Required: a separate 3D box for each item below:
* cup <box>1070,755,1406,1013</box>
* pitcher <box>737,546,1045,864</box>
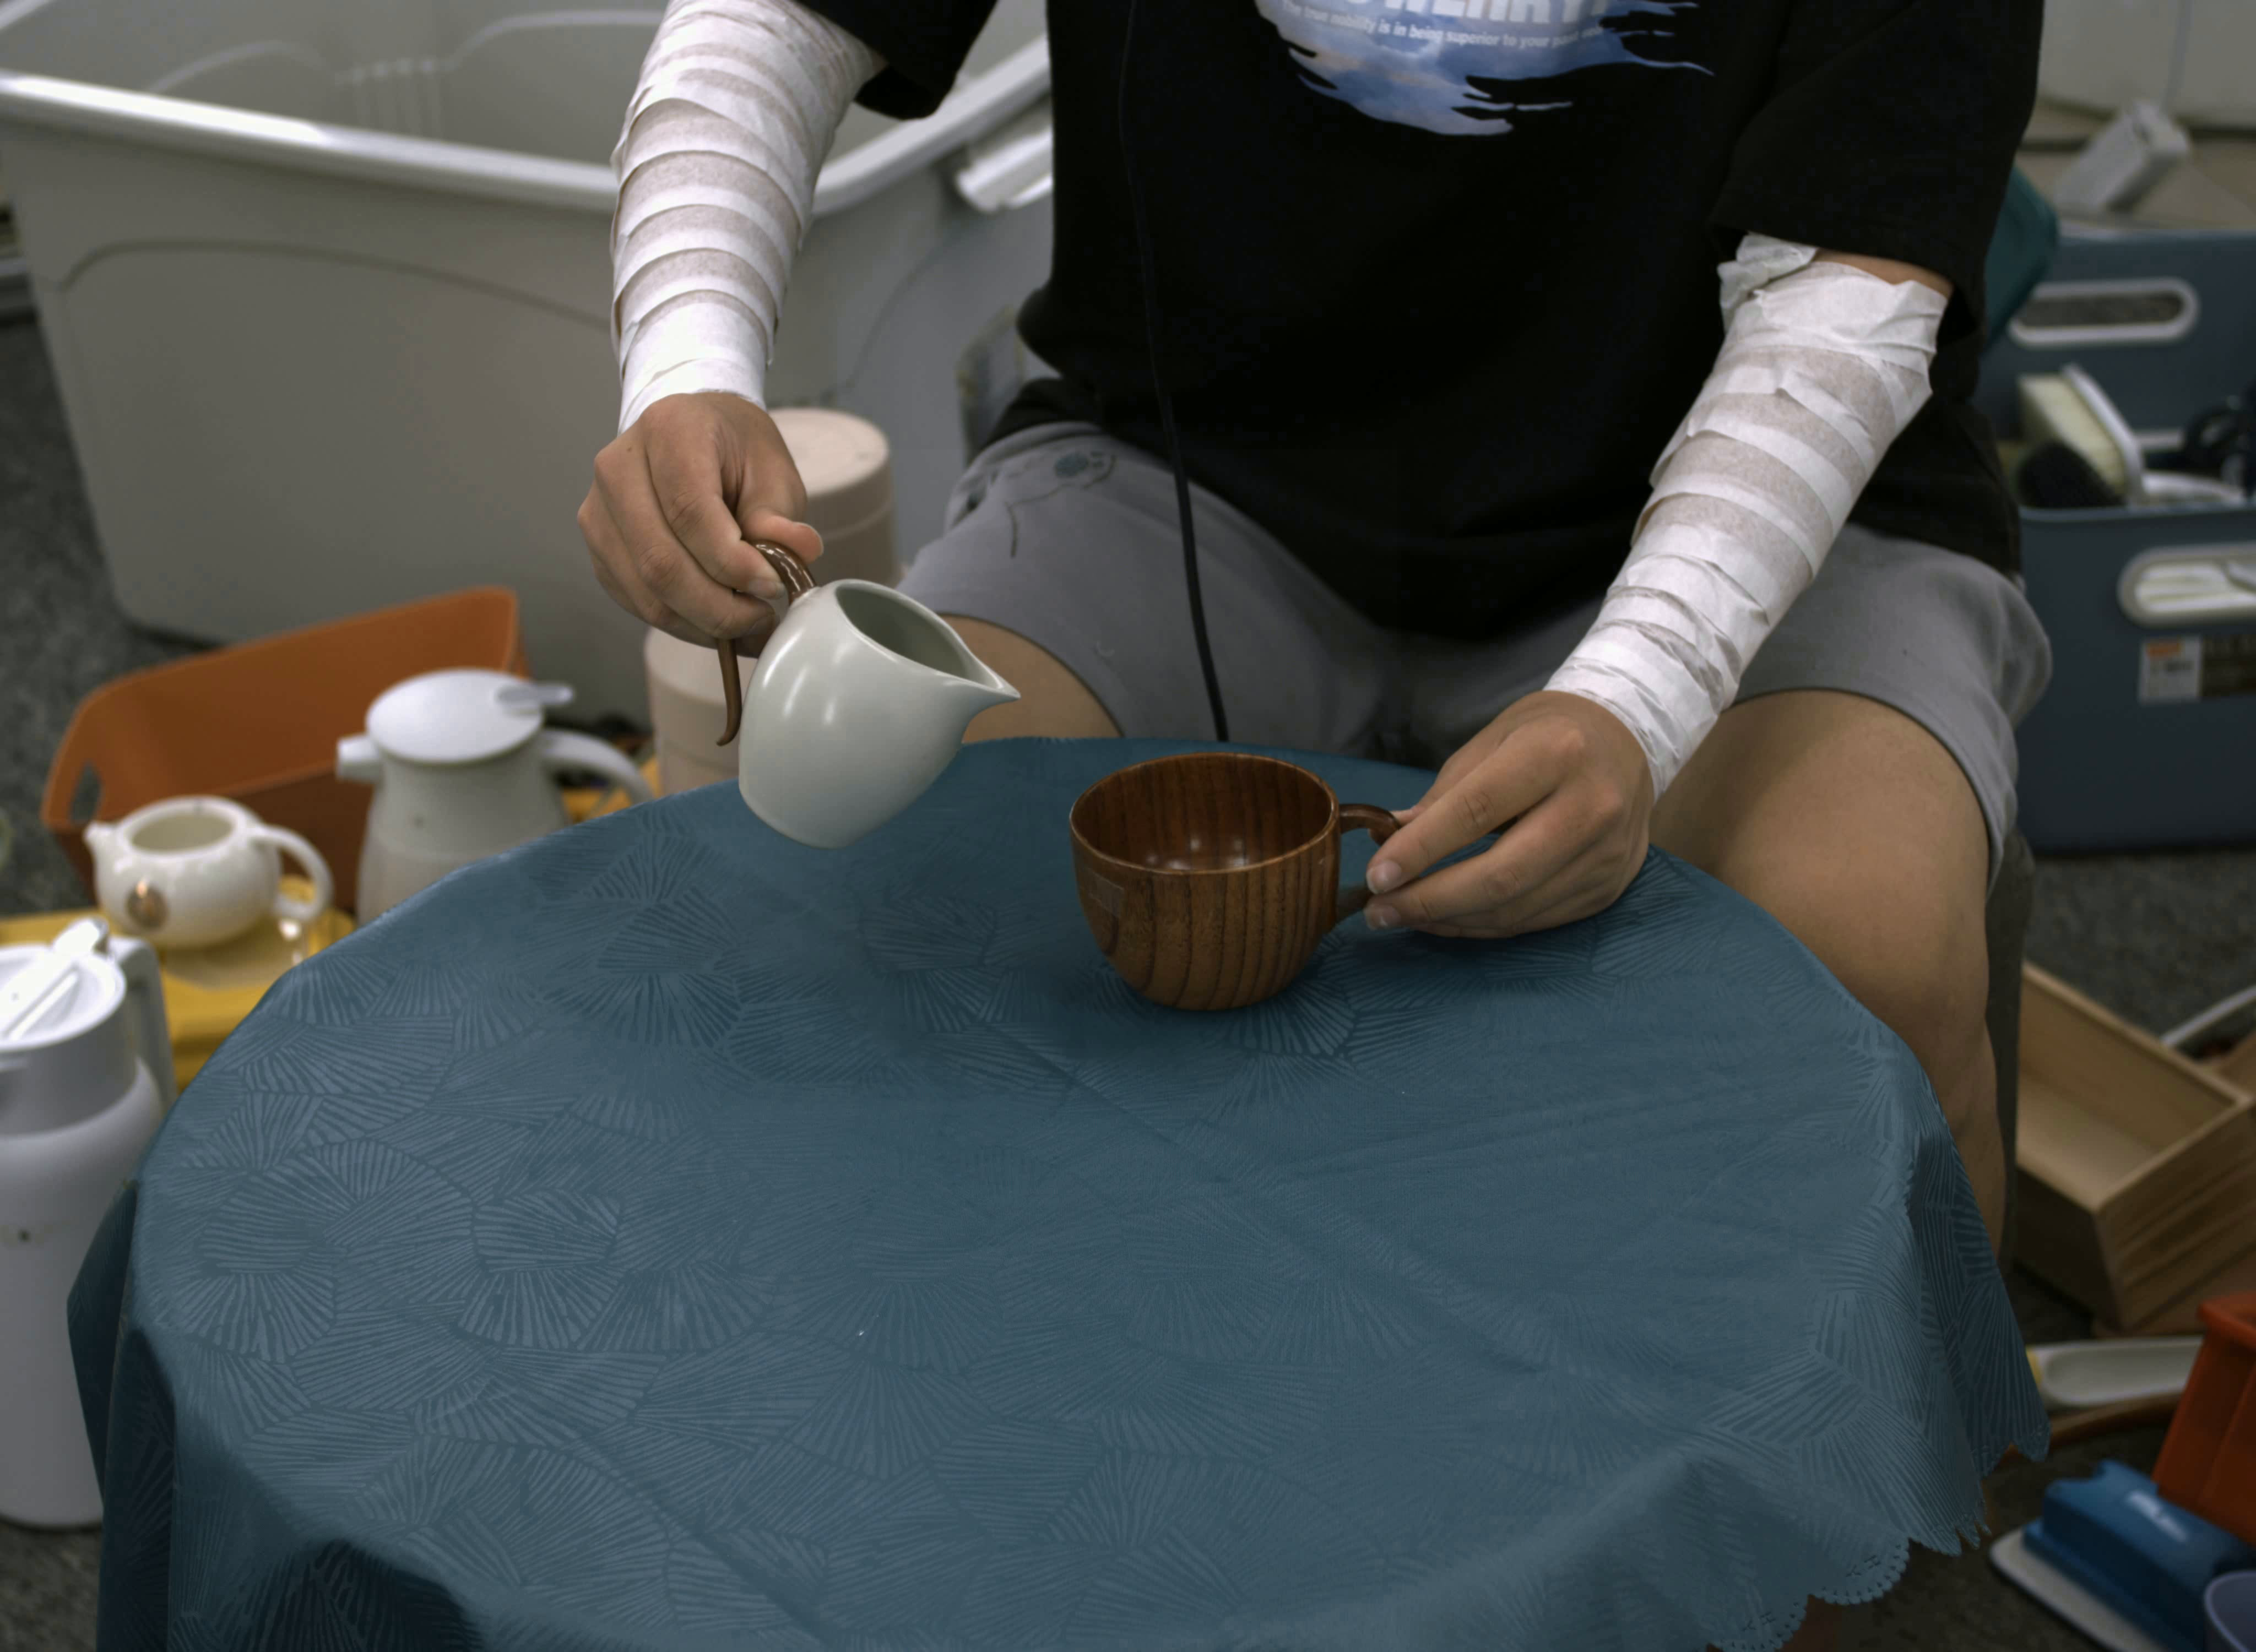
[{"bbox_3d":[0.040,0.023,1.980,0.119,0.067,0.097,-4,23,-6],"label":"cup"},{"bbox_3d":[-0.095,-0.039,1.960,0.119,0.087,0.076,41,21,17],"label":"pitcher"}]
